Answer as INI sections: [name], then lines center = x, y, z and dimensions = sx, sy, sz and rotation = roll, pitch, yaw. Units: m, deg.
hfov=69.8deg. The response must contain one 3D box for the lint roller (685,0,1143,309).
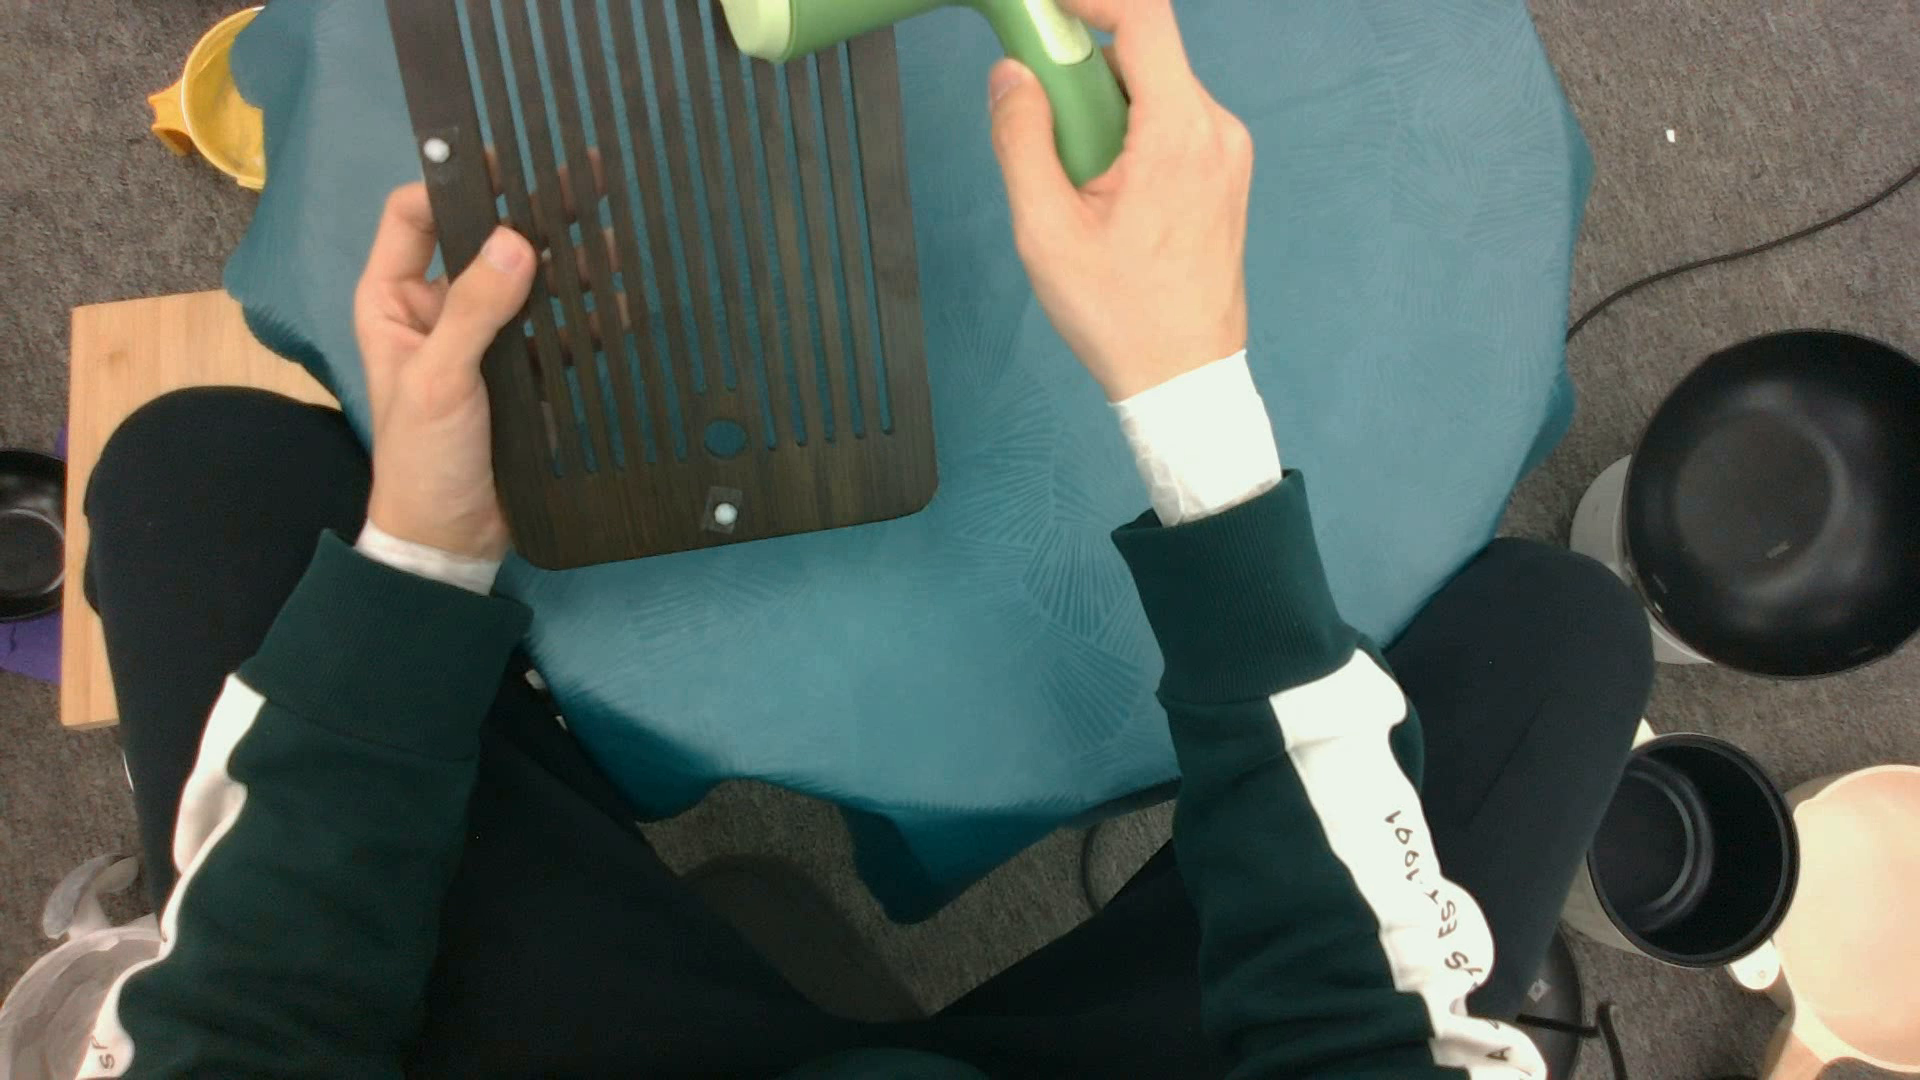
[lint roller]
center = 0.026, -0.170, 0.467
dimensions = 0.199, 0.082, 0.183
rotation = -28, 89, -22

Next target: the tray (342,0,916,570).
[tray]
center = -0.118, -0.143, 0.500
dimensions = 0.170, 0.018, 0.305
rotation = -11, 113, -10
